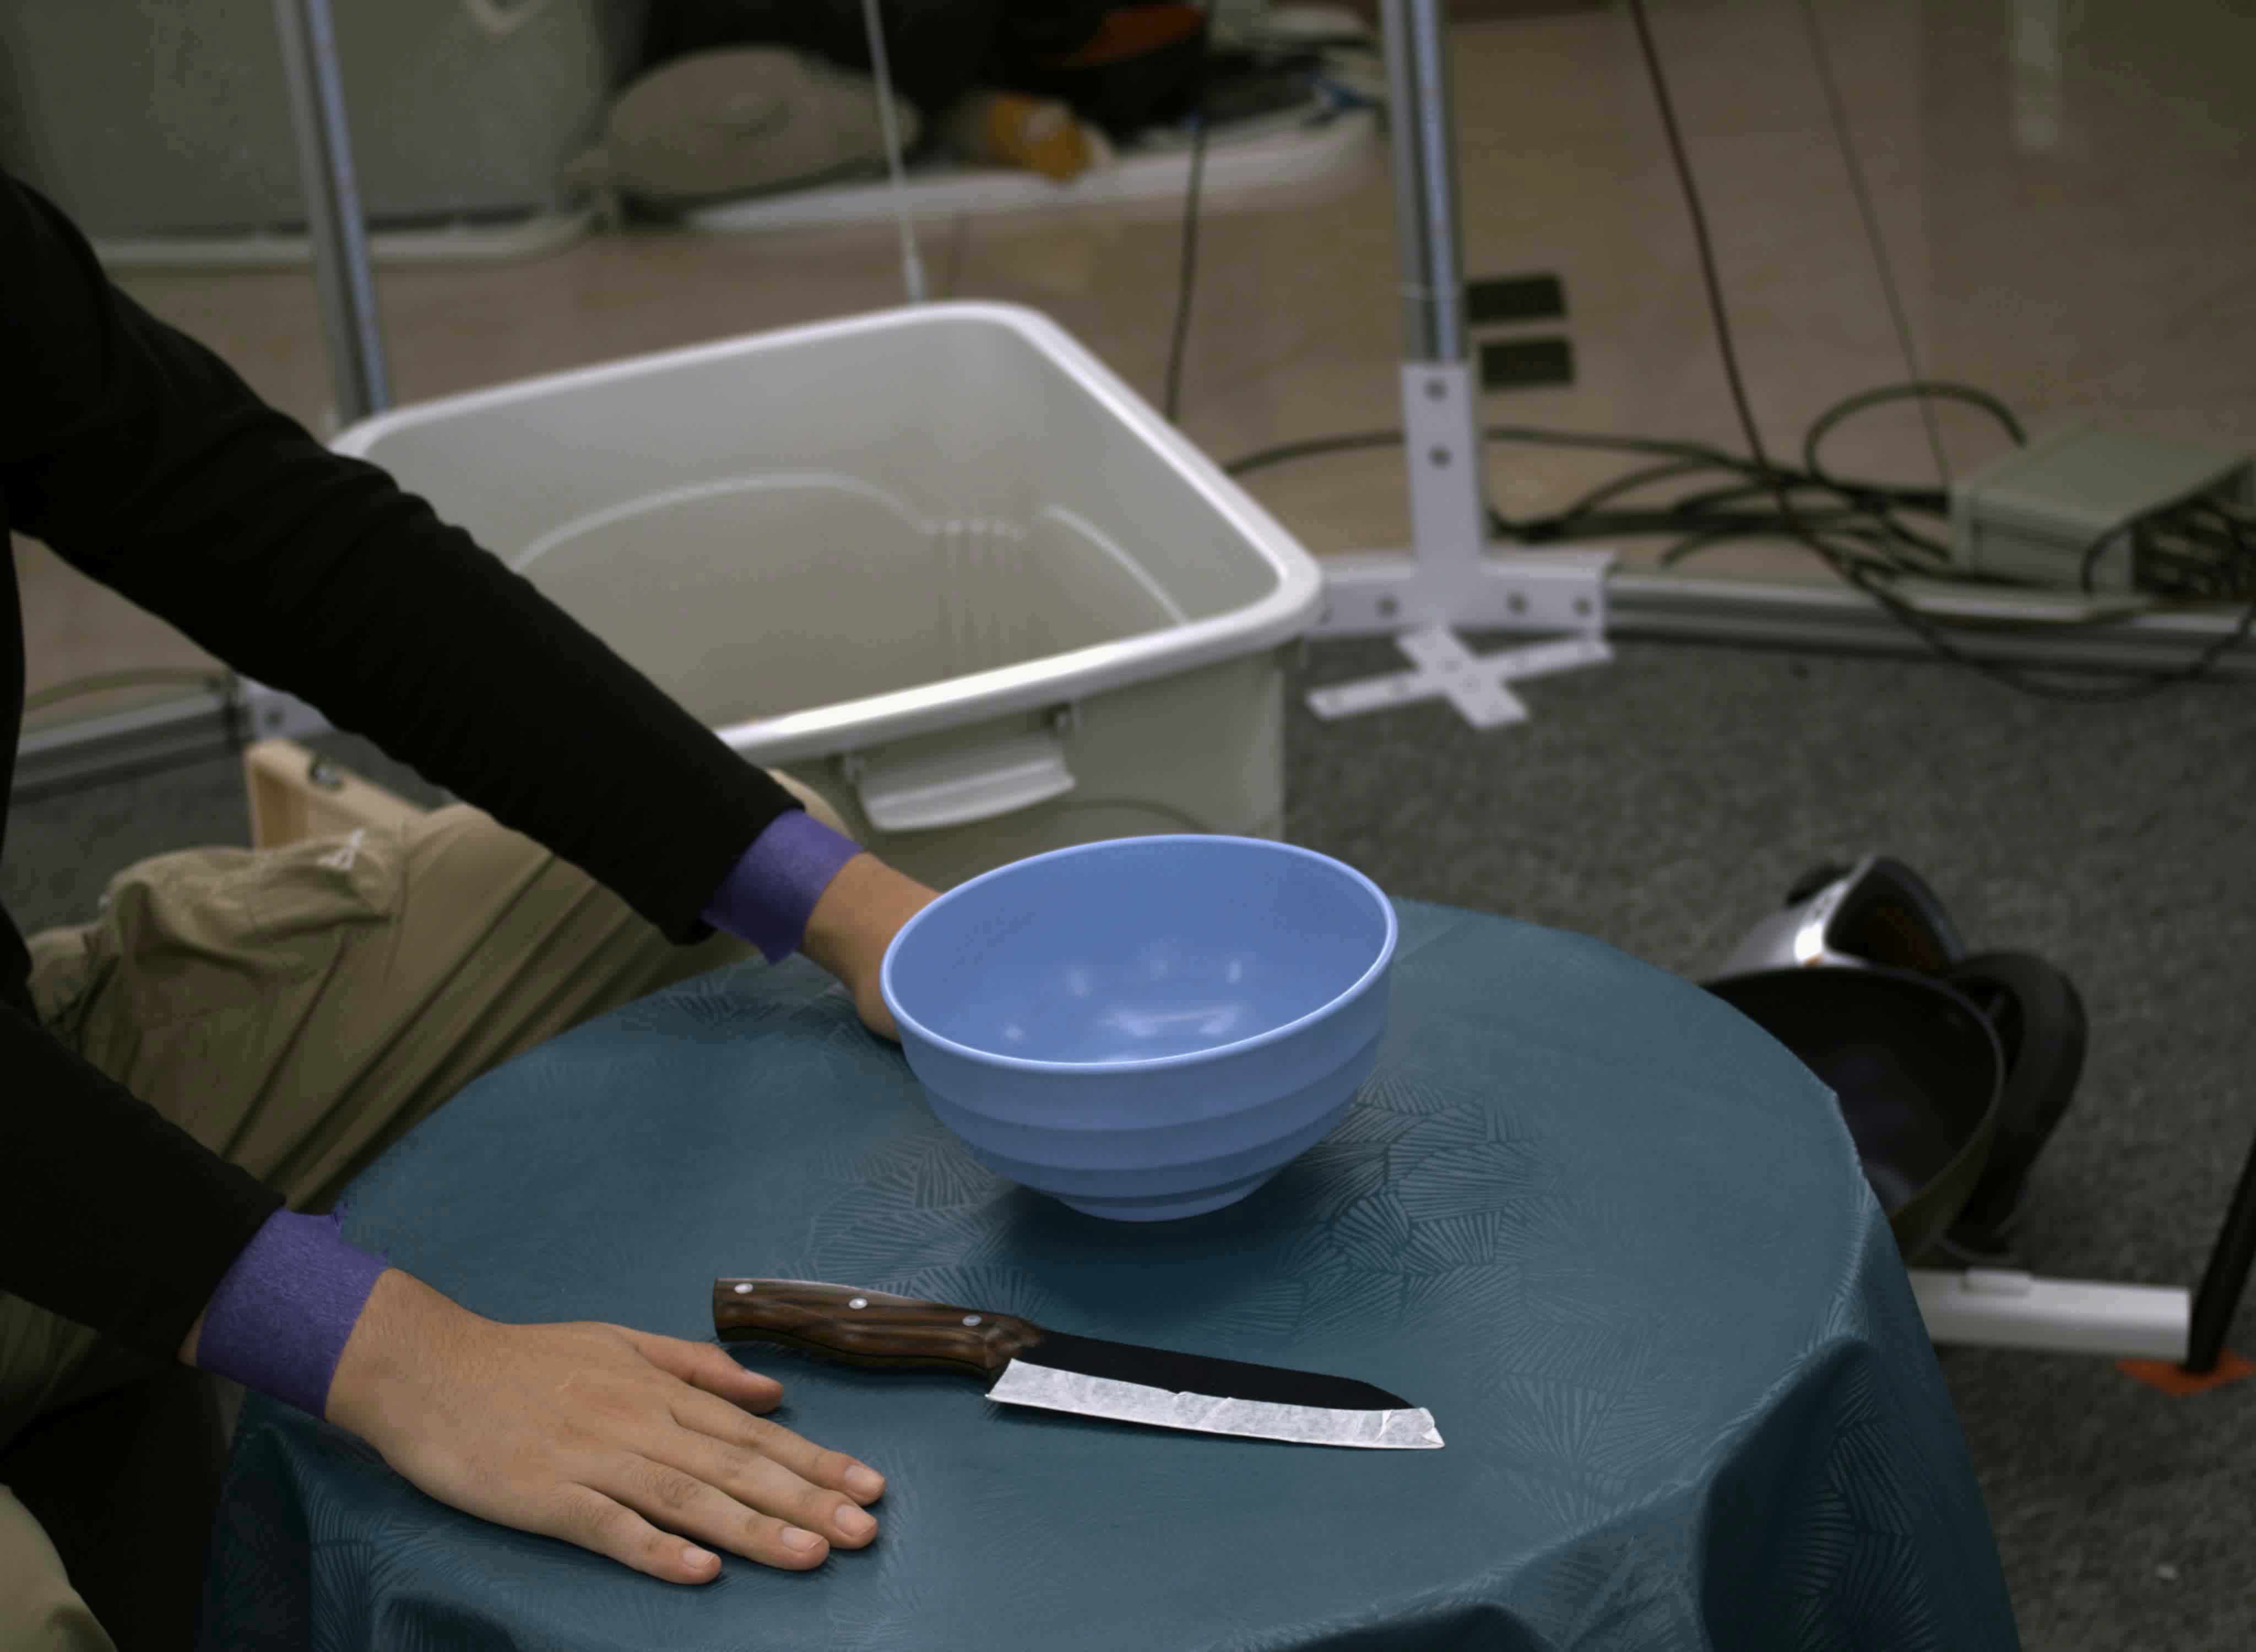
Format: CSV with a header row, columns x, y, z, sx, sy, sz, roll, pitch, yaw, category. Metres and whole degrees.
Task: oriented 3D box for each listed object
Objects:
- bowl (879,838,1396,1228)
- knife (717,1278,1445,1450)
x,y,z,sx,sy,sz,roll,pitch,yaw,category
0.009,0.089,2.147,0.196,0.097,0.193,-7,25,3,bowl
-0.021,0.193,2.021,0.288,0.020,0.049,8,34,23,knife
